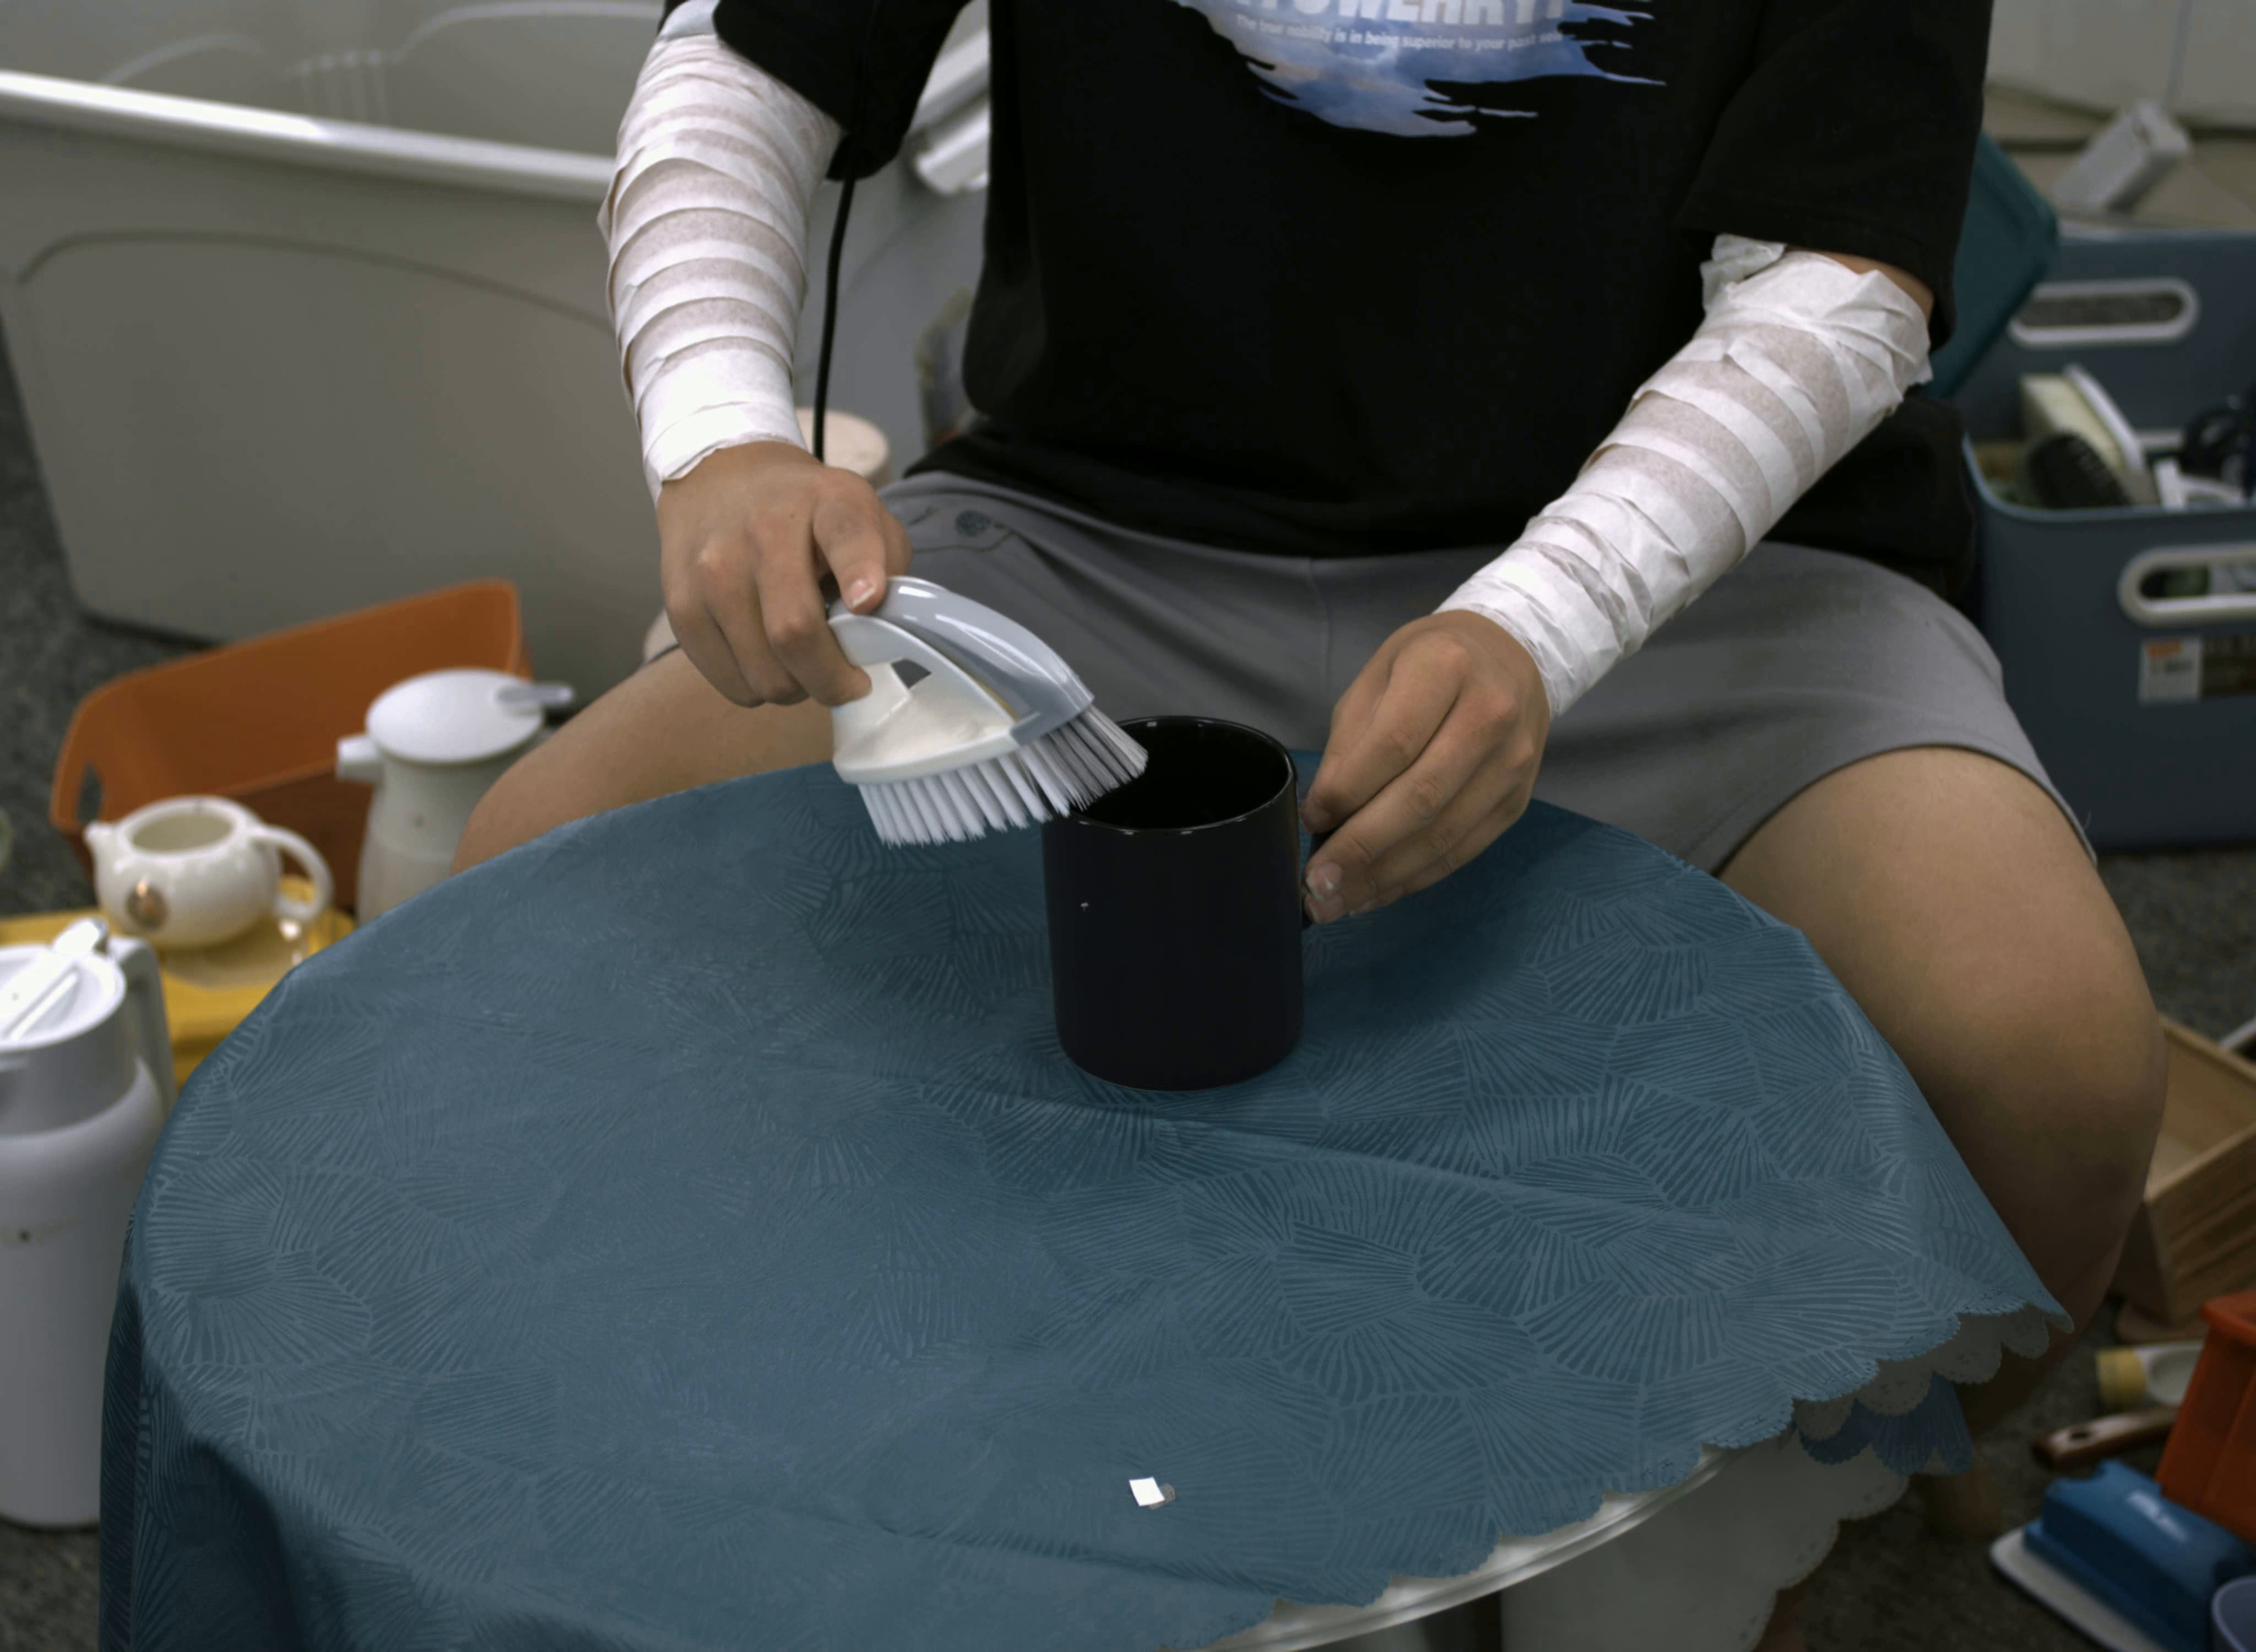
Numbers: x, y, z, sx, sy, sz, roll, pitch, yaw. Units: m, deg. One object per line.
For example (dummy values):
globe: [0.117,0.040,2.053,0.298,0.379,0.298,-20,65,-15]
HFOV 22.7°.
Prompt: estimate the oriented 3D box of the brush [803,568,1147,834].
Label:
brush: [-0.058,-0.050,1.934,0.062,0.094,0.174,-45,18,-20]

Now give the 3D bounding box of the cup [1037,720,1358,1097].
cup: [0.030,0.023,1.943,0.125,0.104,0.088,-21,27,-35]
